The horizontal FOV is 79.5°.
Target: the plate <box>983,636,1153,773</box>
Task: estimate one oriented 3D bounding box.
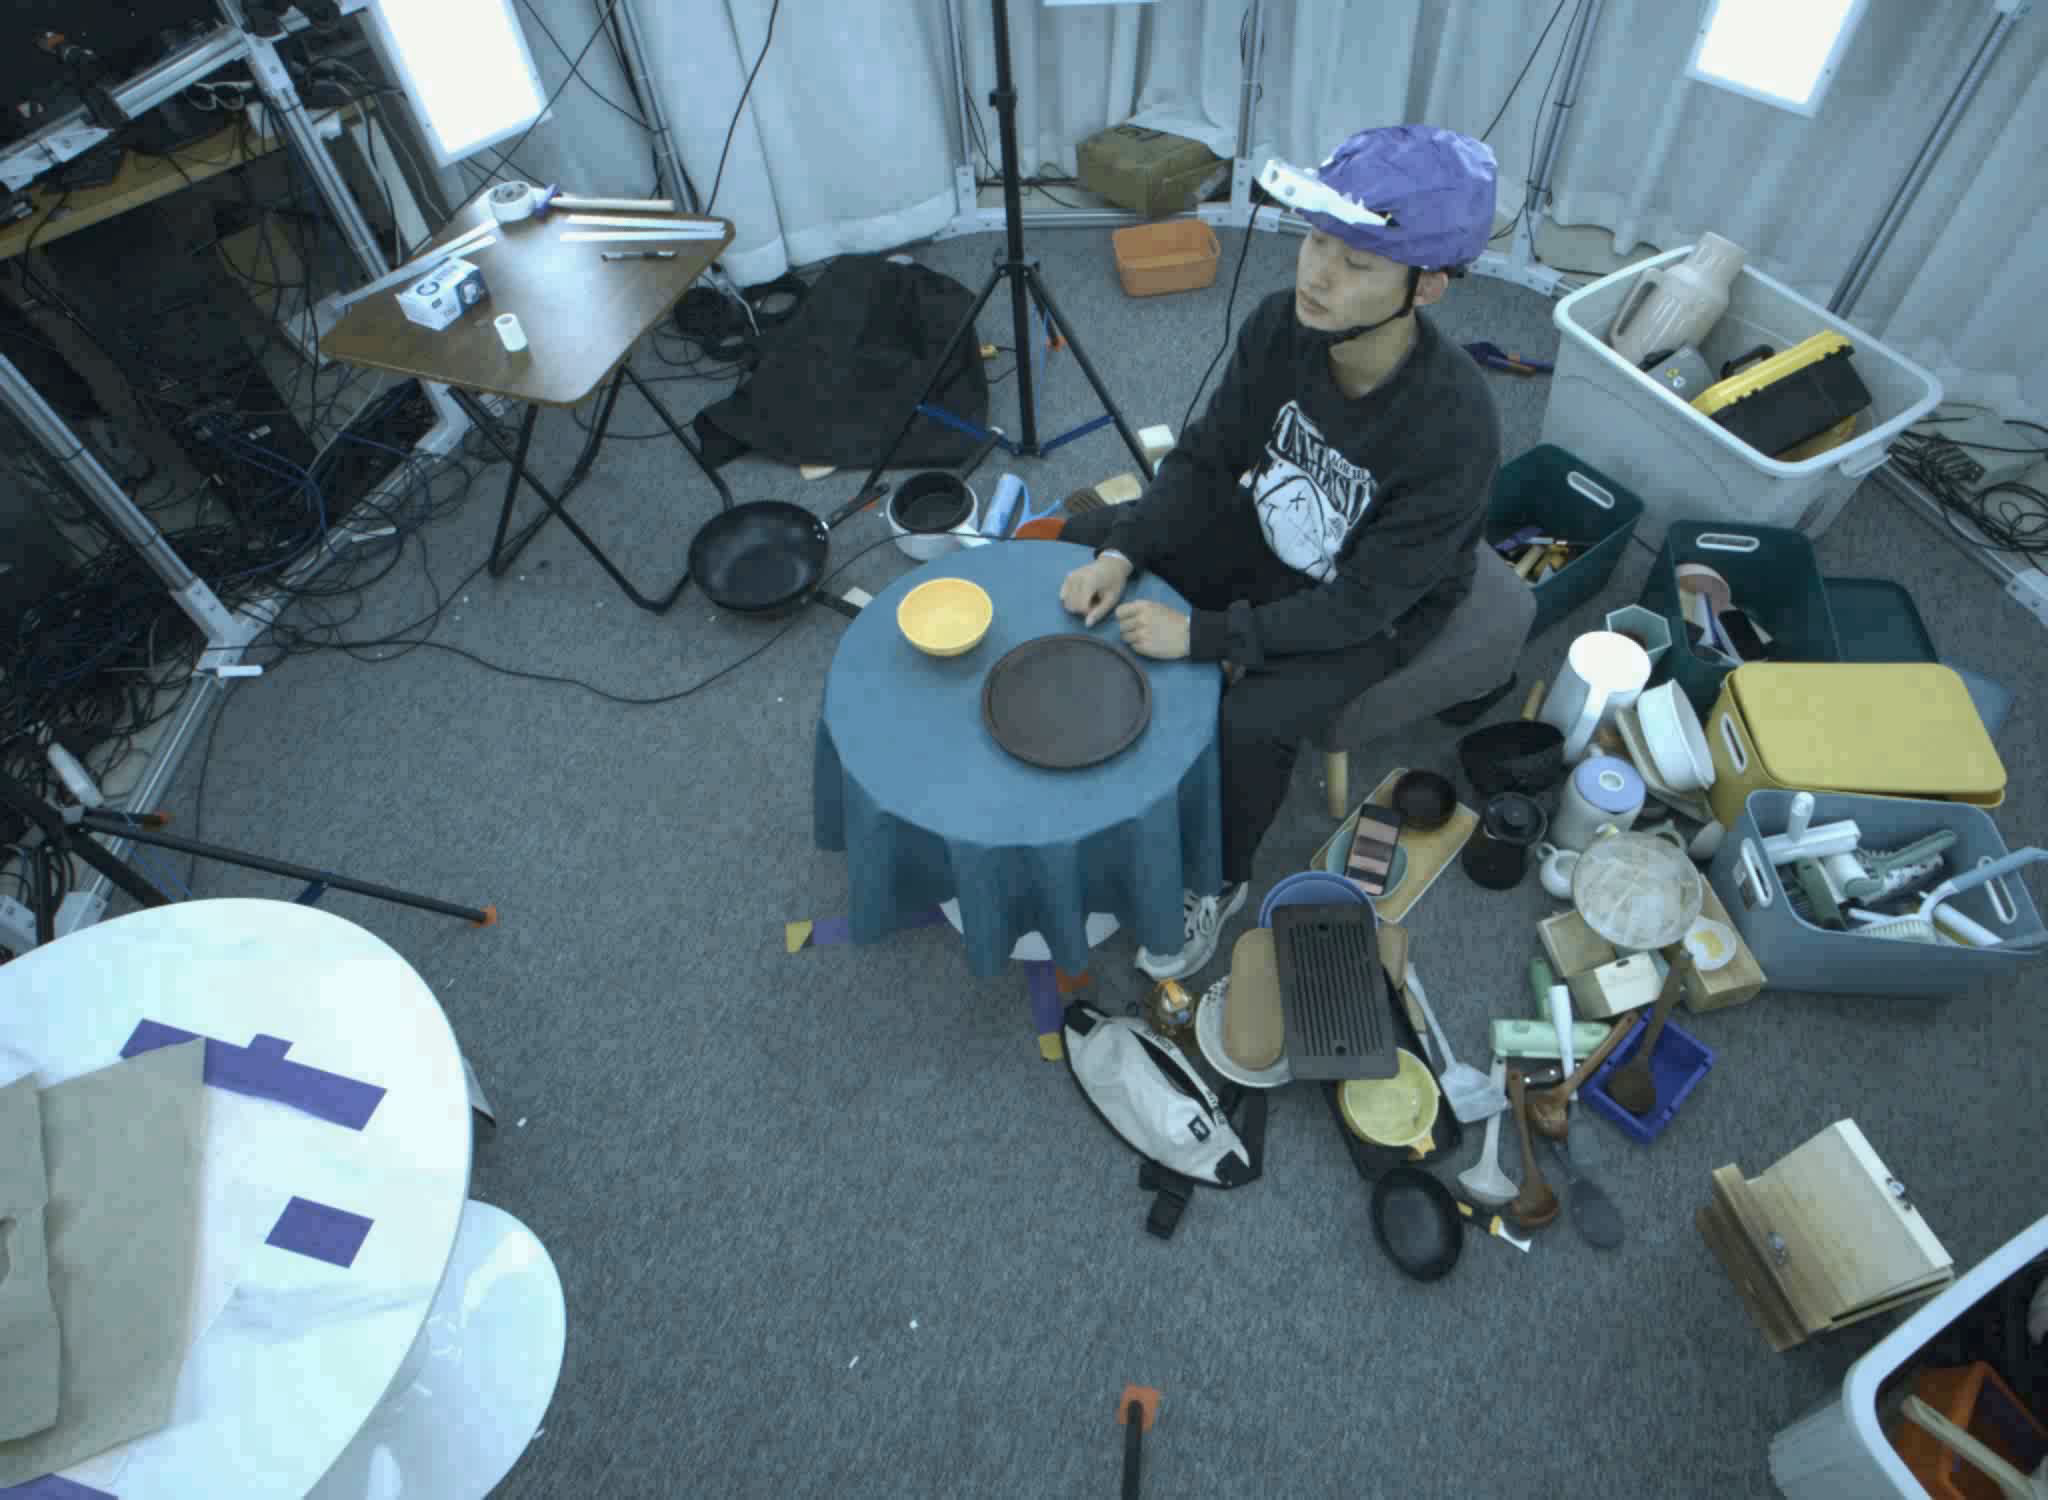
[{"bbox_3d":[0.065,-0.068,1.830,0.254,0.029,0.252,0,53,2],"label":"plate"}]

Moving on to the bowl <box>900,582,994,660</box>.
[{"bbox_3d":[-0.118,-0.188,1.899,0.145,0.060,0.144,1,55,0],"label":"bowl"}]
